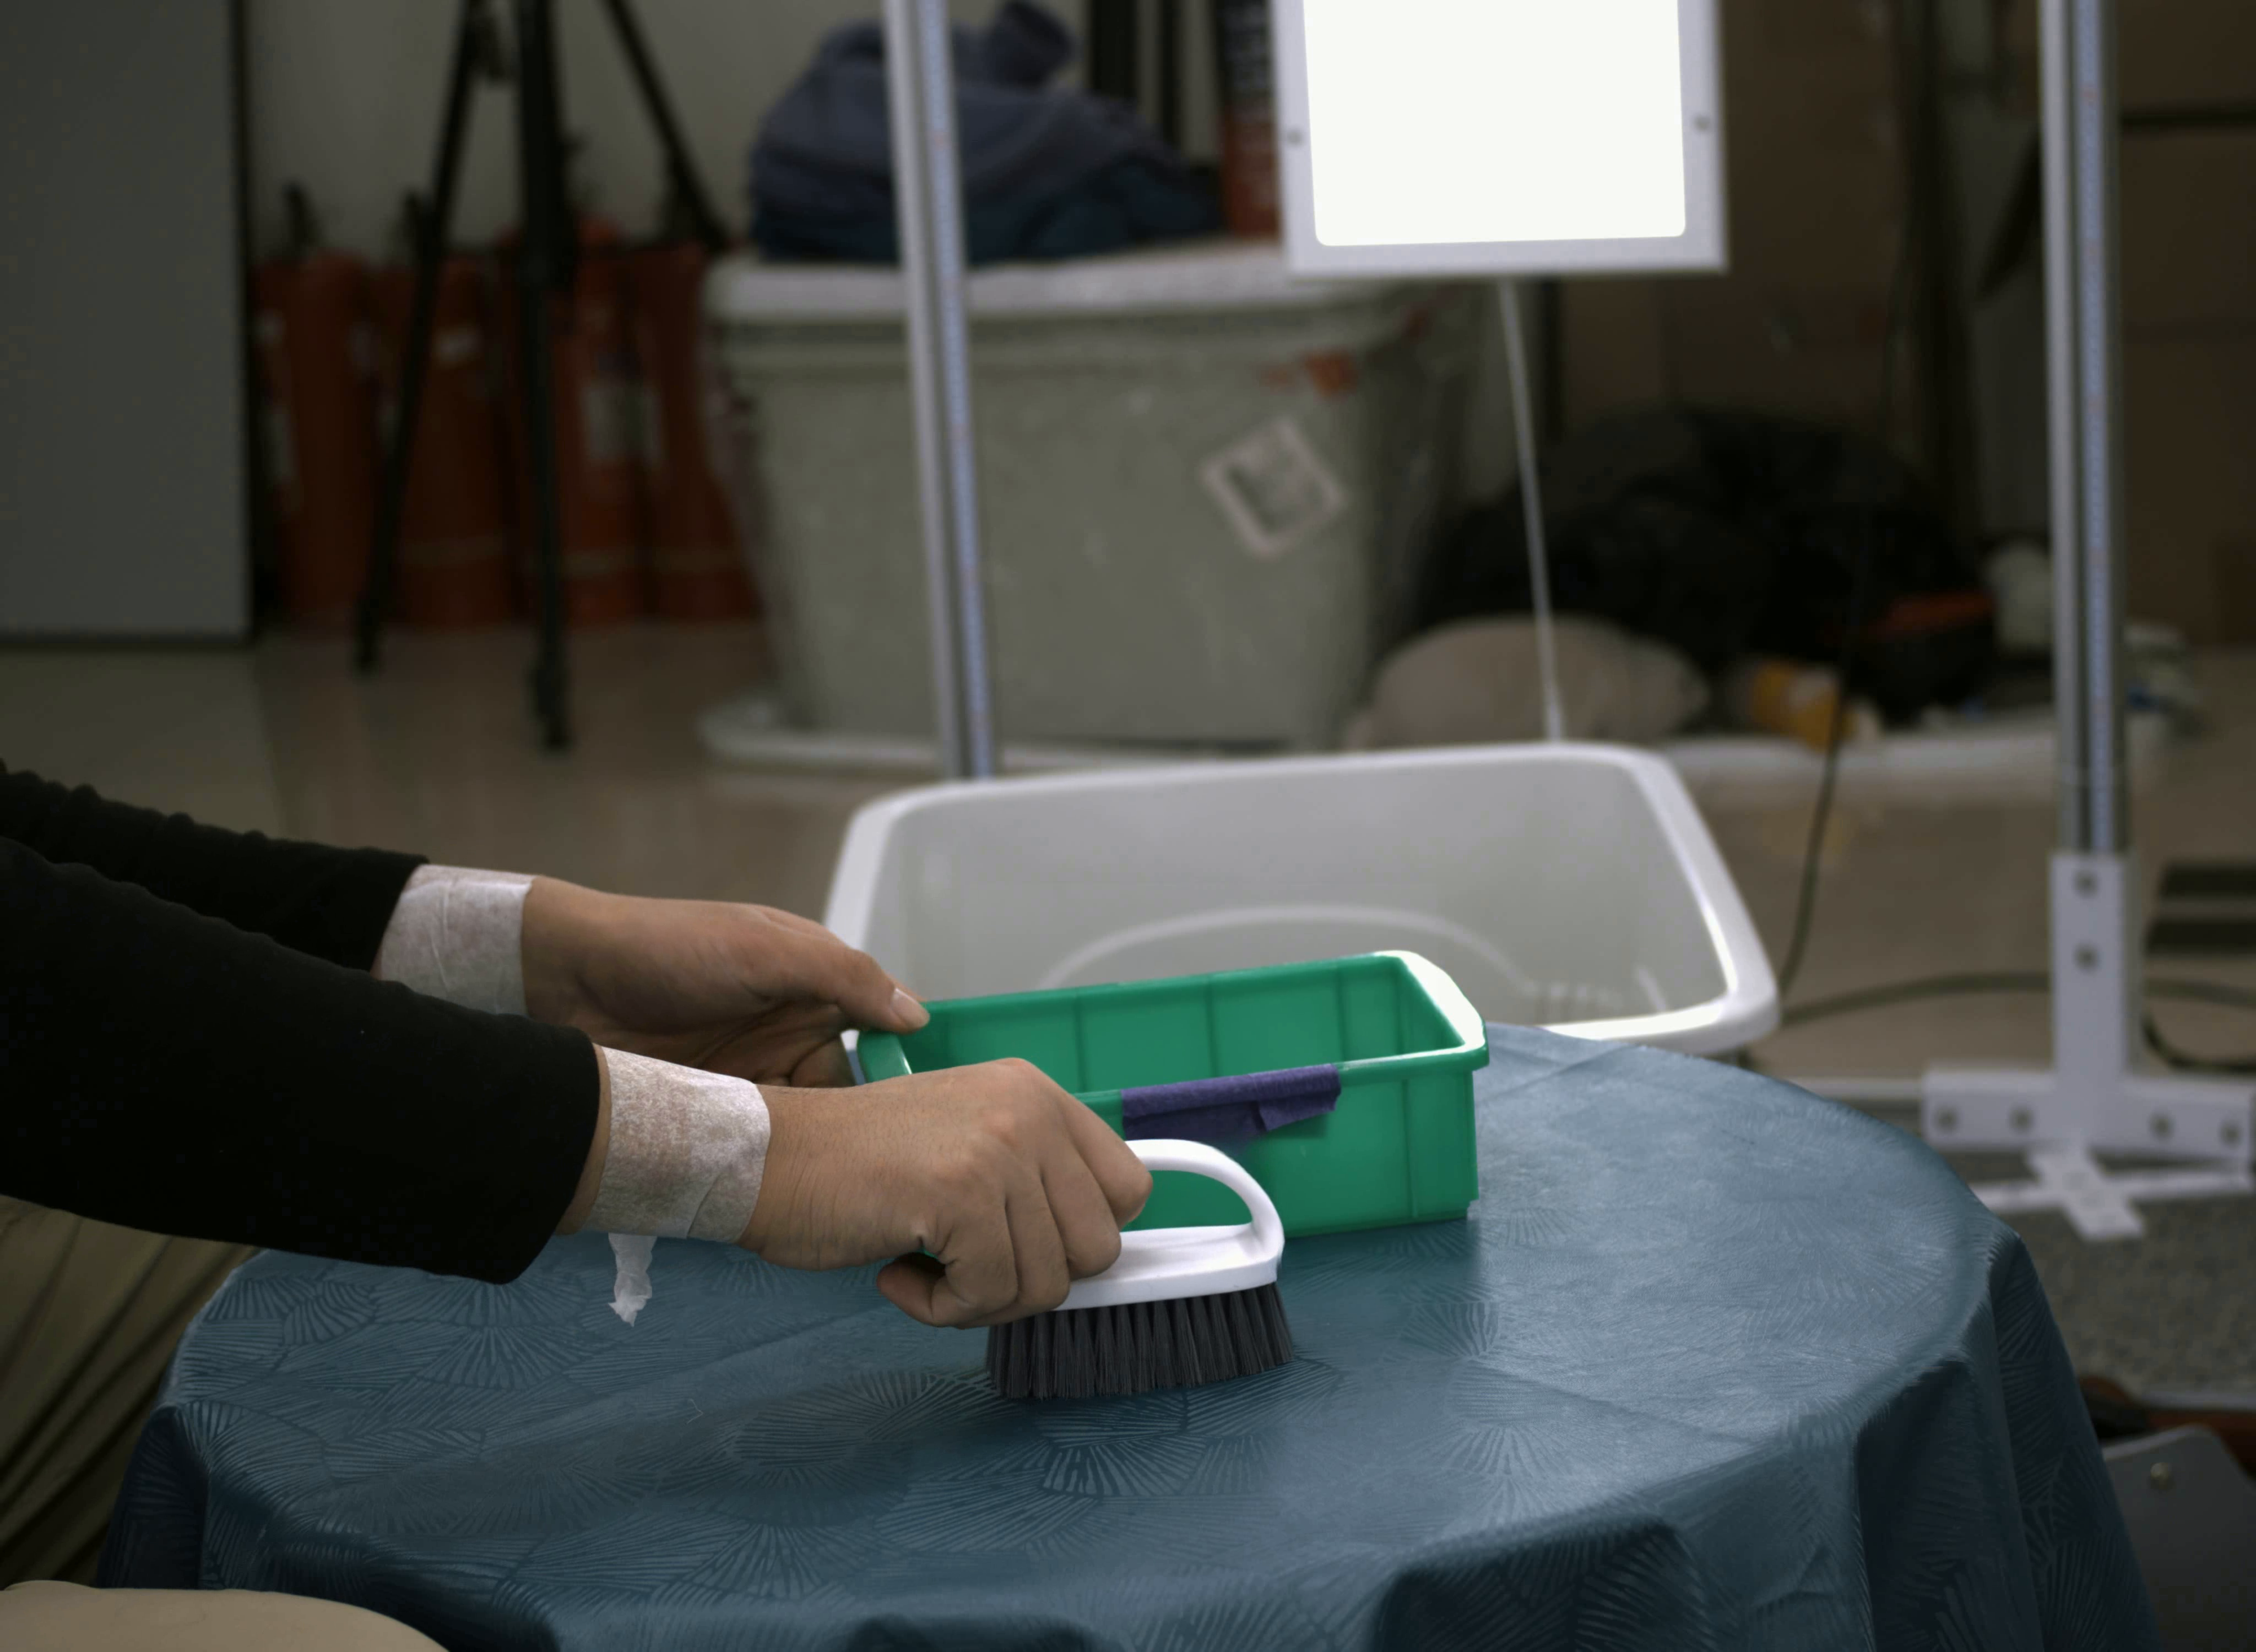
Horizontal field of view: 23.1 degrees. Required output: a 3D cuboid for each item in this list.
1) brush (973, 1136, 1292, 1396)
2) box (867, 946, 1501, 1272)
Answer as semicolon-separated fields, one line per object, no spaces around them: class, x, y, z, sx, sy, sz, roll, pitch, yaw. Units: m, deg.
brush;0.000;0.133;1.716;0.099;0.073;0.050;-5;15;-2
box;0.019;0.097;1.882;0.209;0.065;0.139;-6;16;-7
